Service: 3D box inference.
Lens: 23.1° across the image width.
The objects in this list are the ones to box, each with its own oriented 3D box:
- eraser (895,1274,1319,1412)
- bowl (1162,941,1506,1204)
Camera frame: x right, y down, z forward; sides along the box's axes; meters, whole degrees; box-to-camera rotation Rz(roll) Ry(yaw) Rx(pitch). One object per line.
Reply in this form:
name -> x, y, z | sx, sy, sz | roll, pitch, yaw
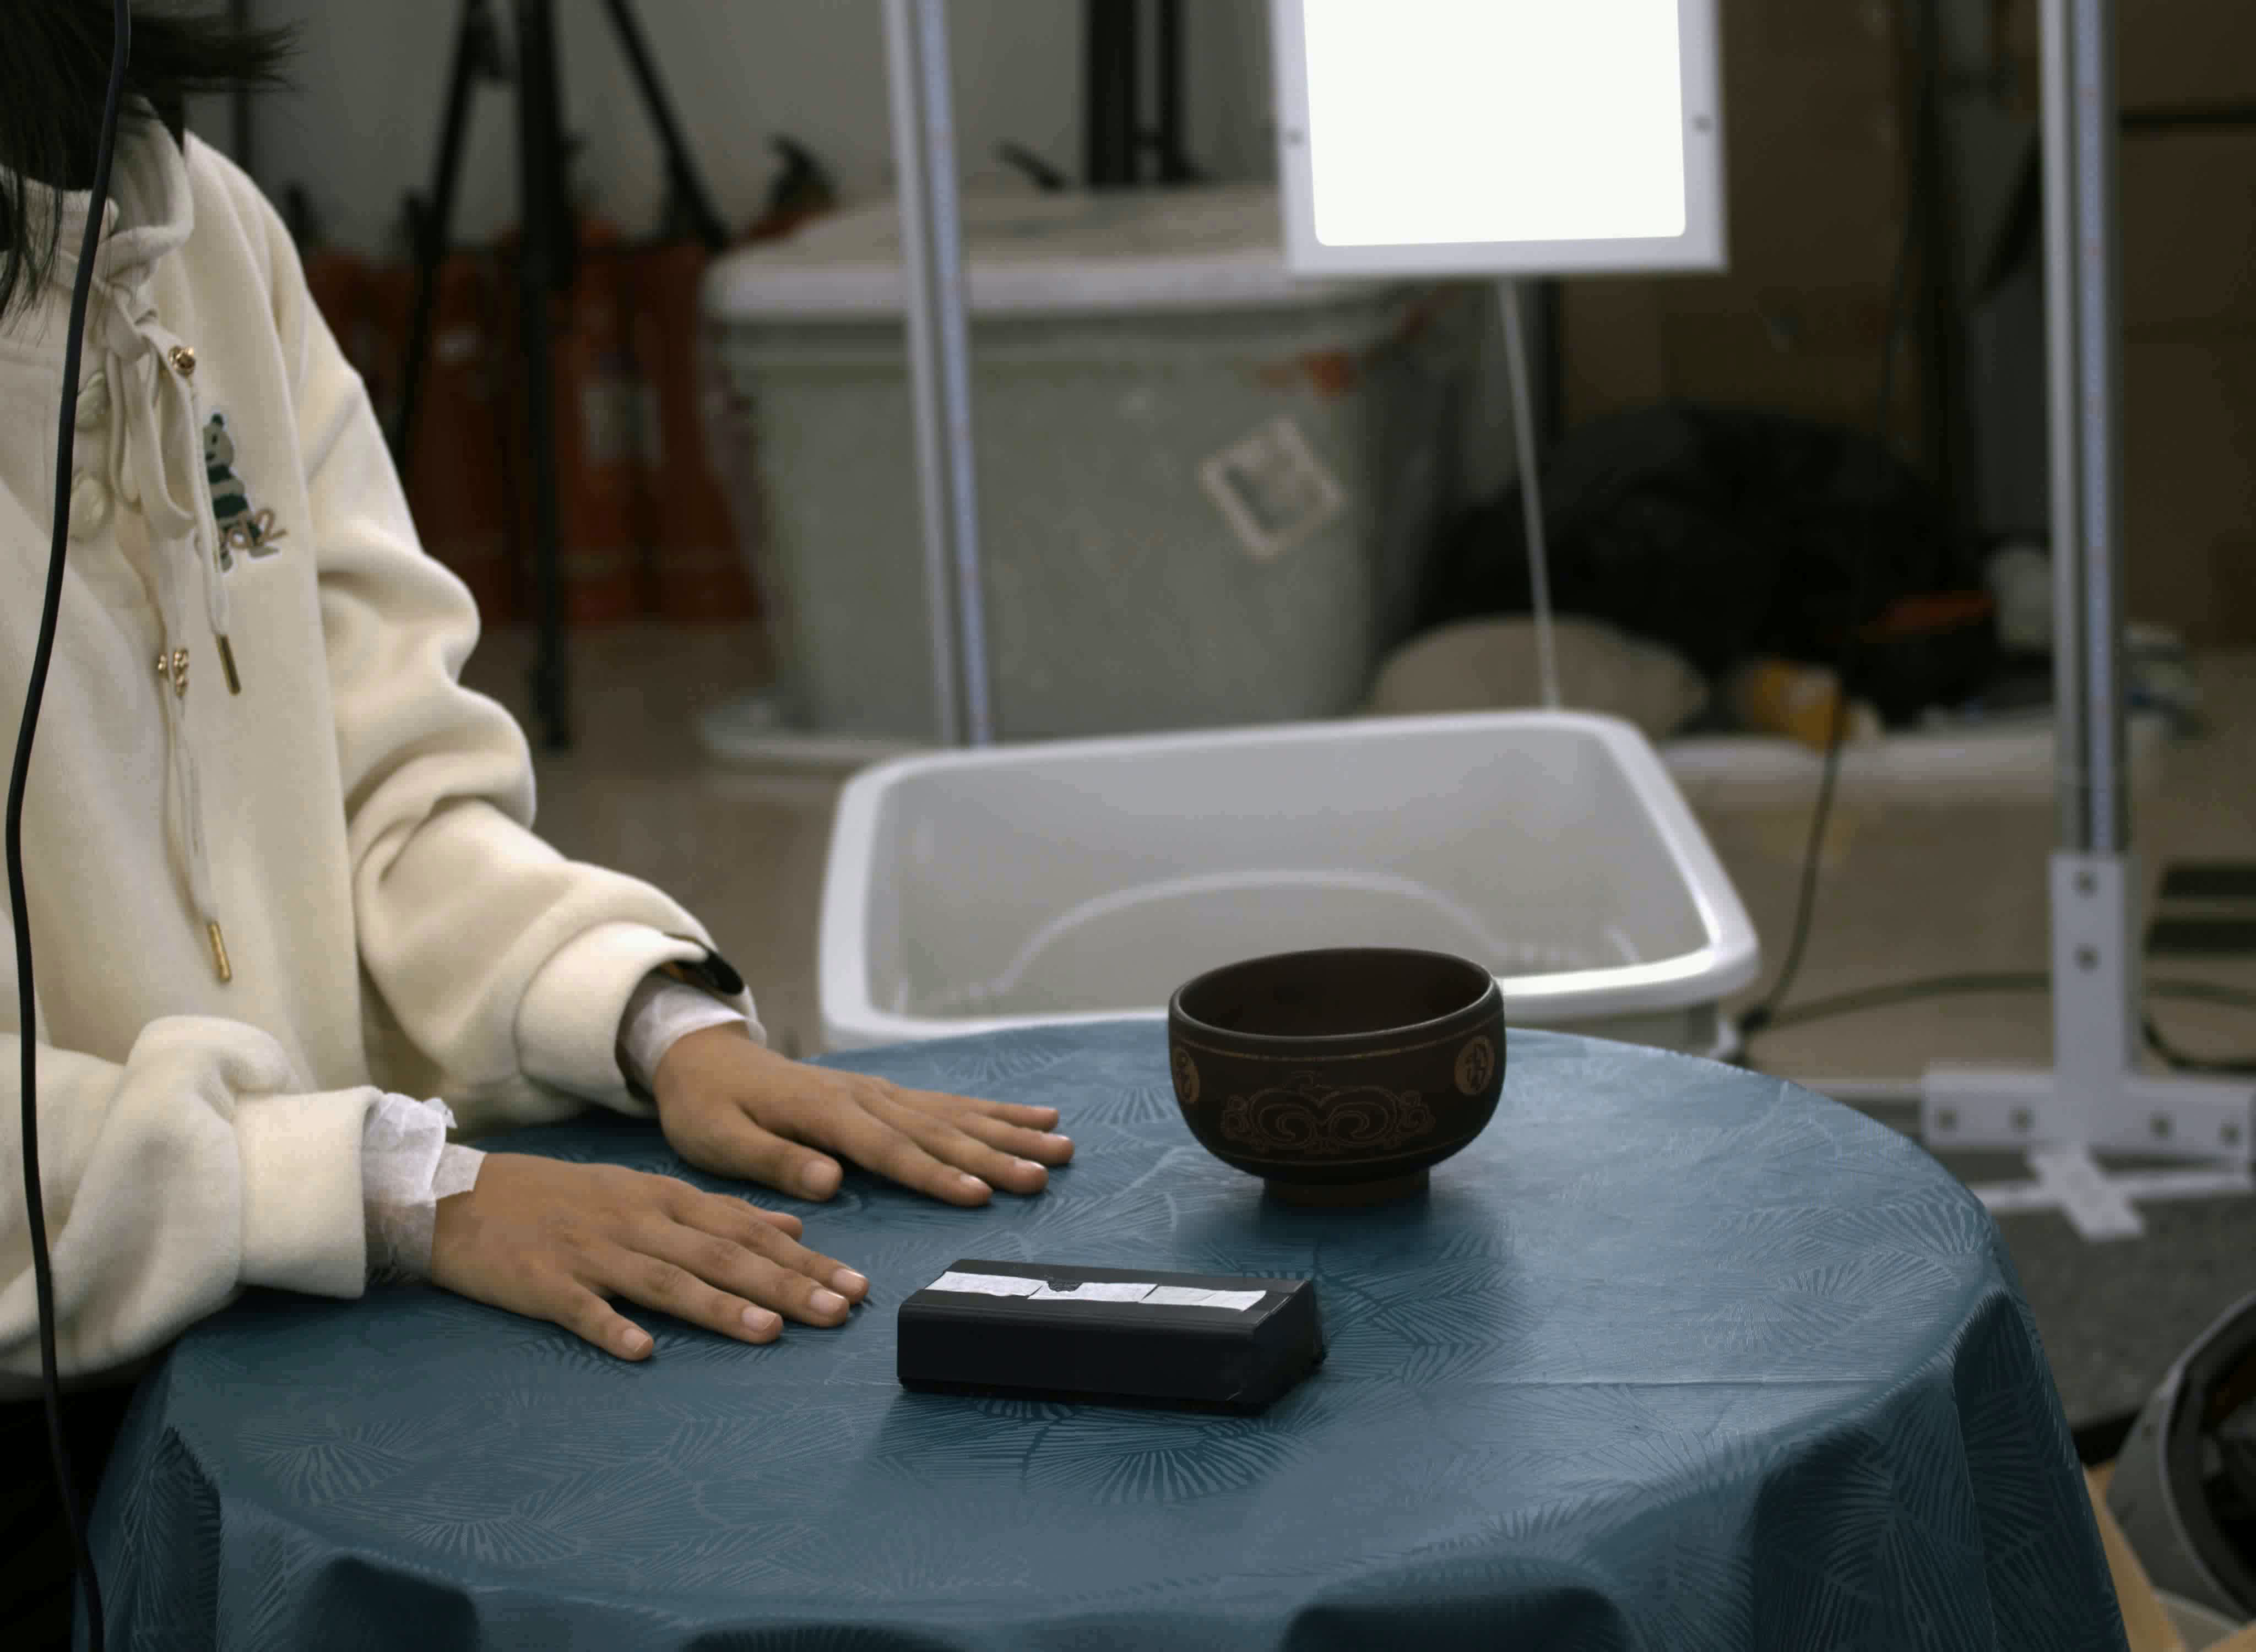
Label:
eraser -> -0.005, 0.160, 1.709 | 0.127, 0.030, 0.052 | -1, 13, 25
bowl -> 0.072, 0.088, 1.879 | 0.118, 0.070, 0.118 | -6, 14, 0
